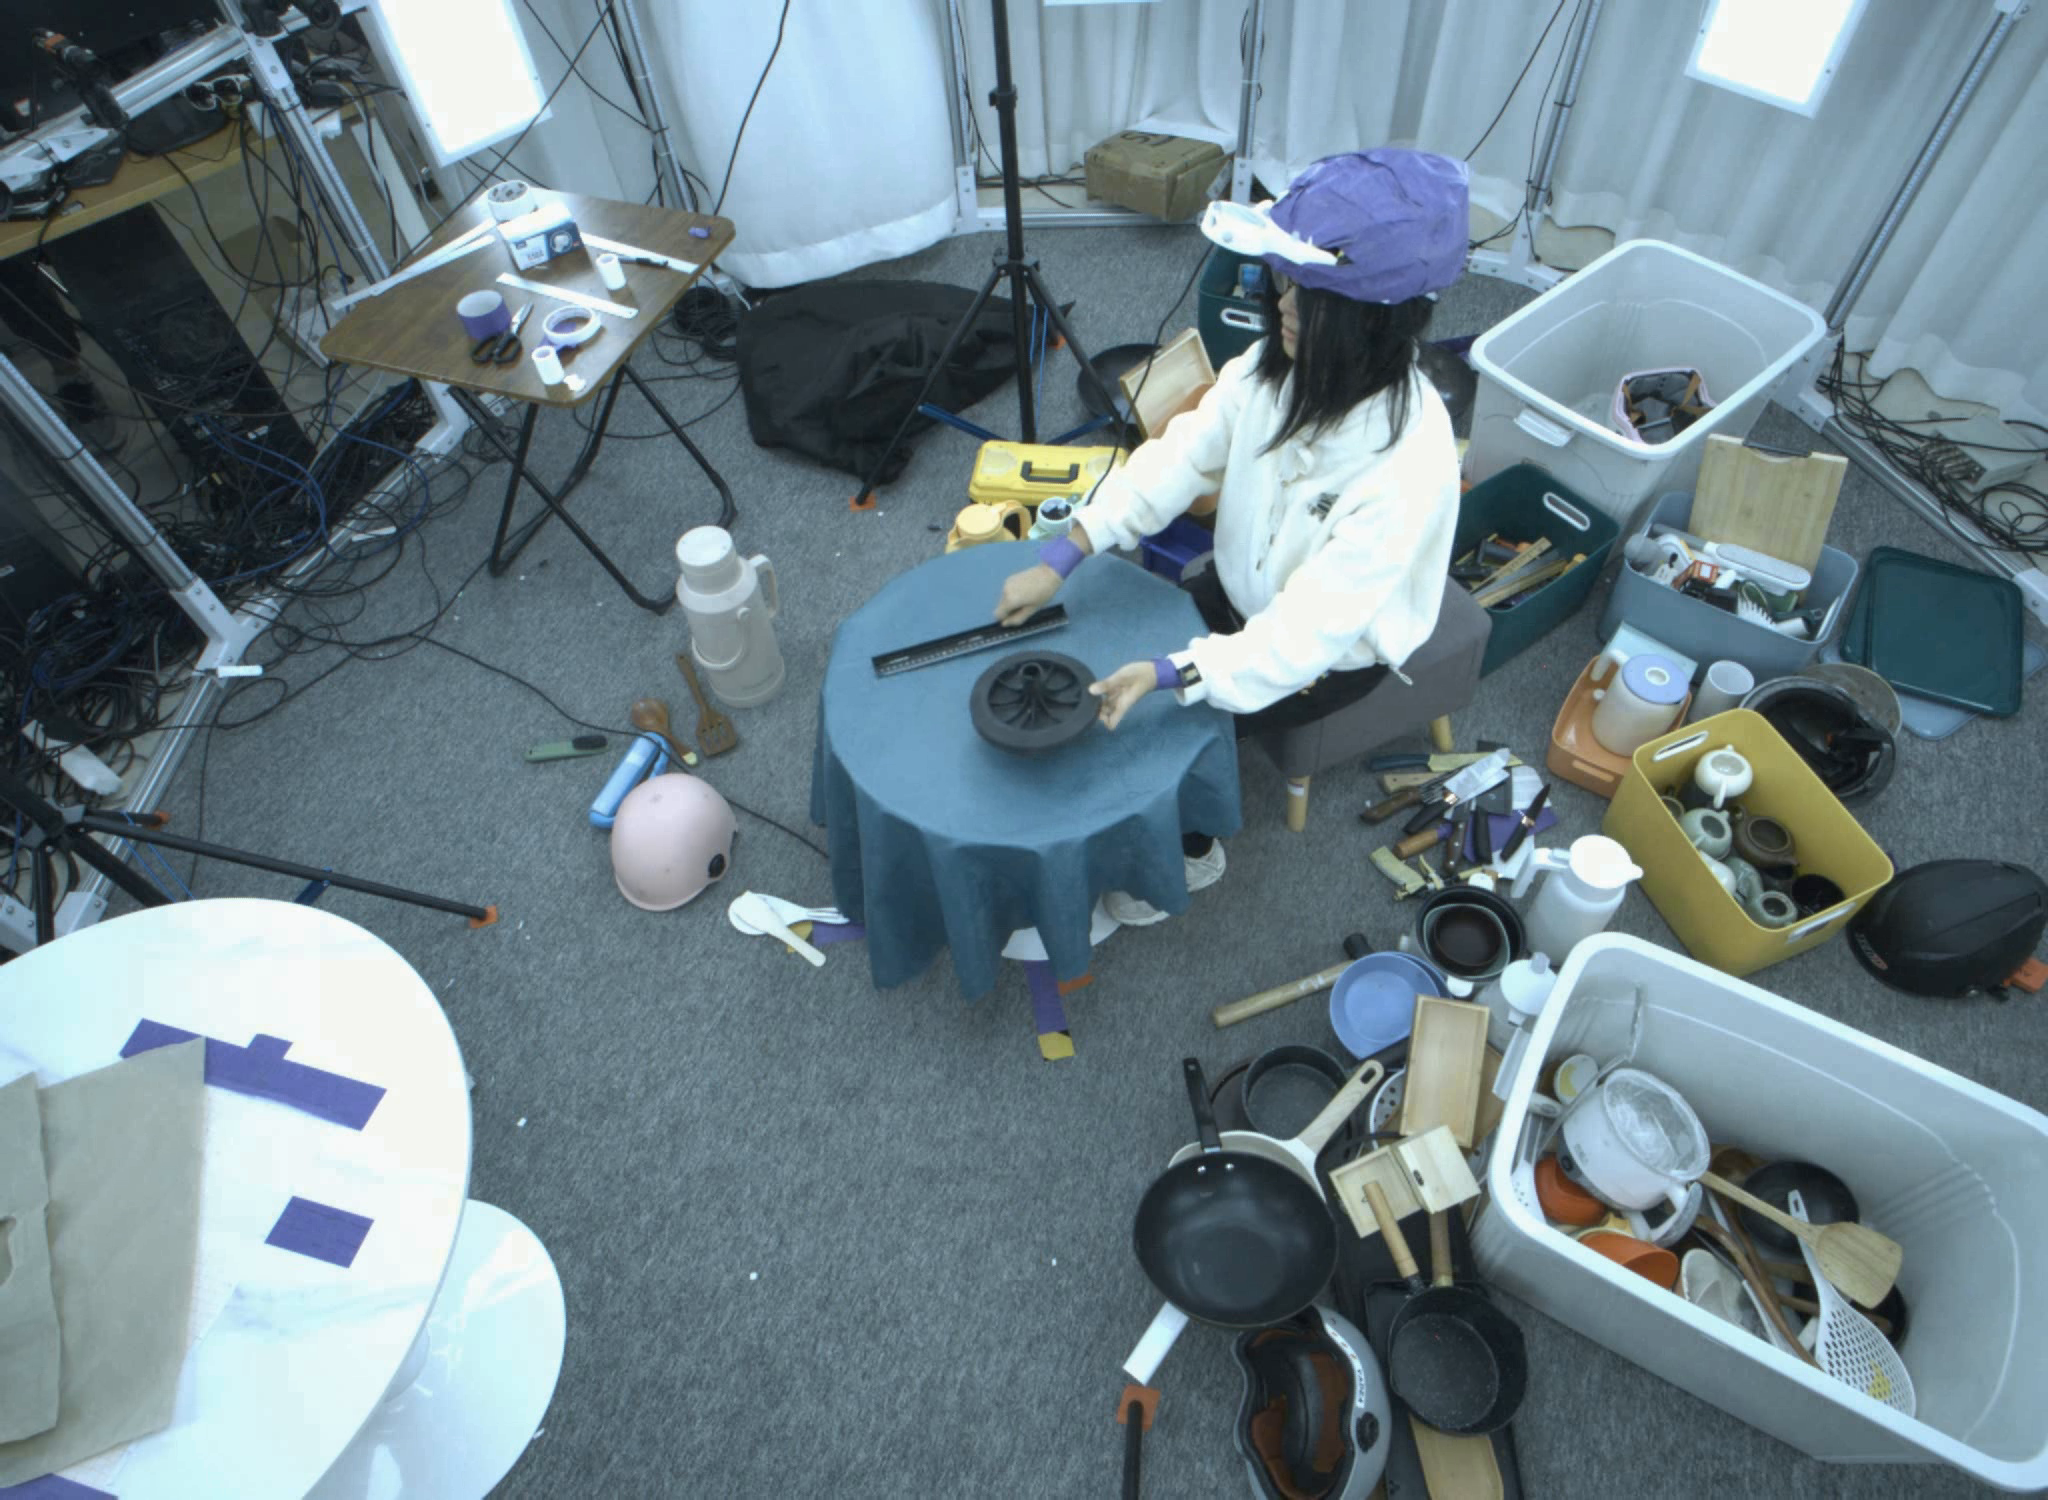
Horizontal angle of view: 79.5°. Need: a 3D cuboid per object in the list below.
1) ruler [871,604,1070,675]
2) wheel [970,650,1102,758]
[{"bbox_3d":[-0.083,-0.172,1.893,0.314,0.017,0.038,-15,56,-6],"label":"ruler"},{"bbox_3d":[0.015,-0.081,1.734,0.187,0.080,0.188,-2,52,4],"label":"wheel"}]
